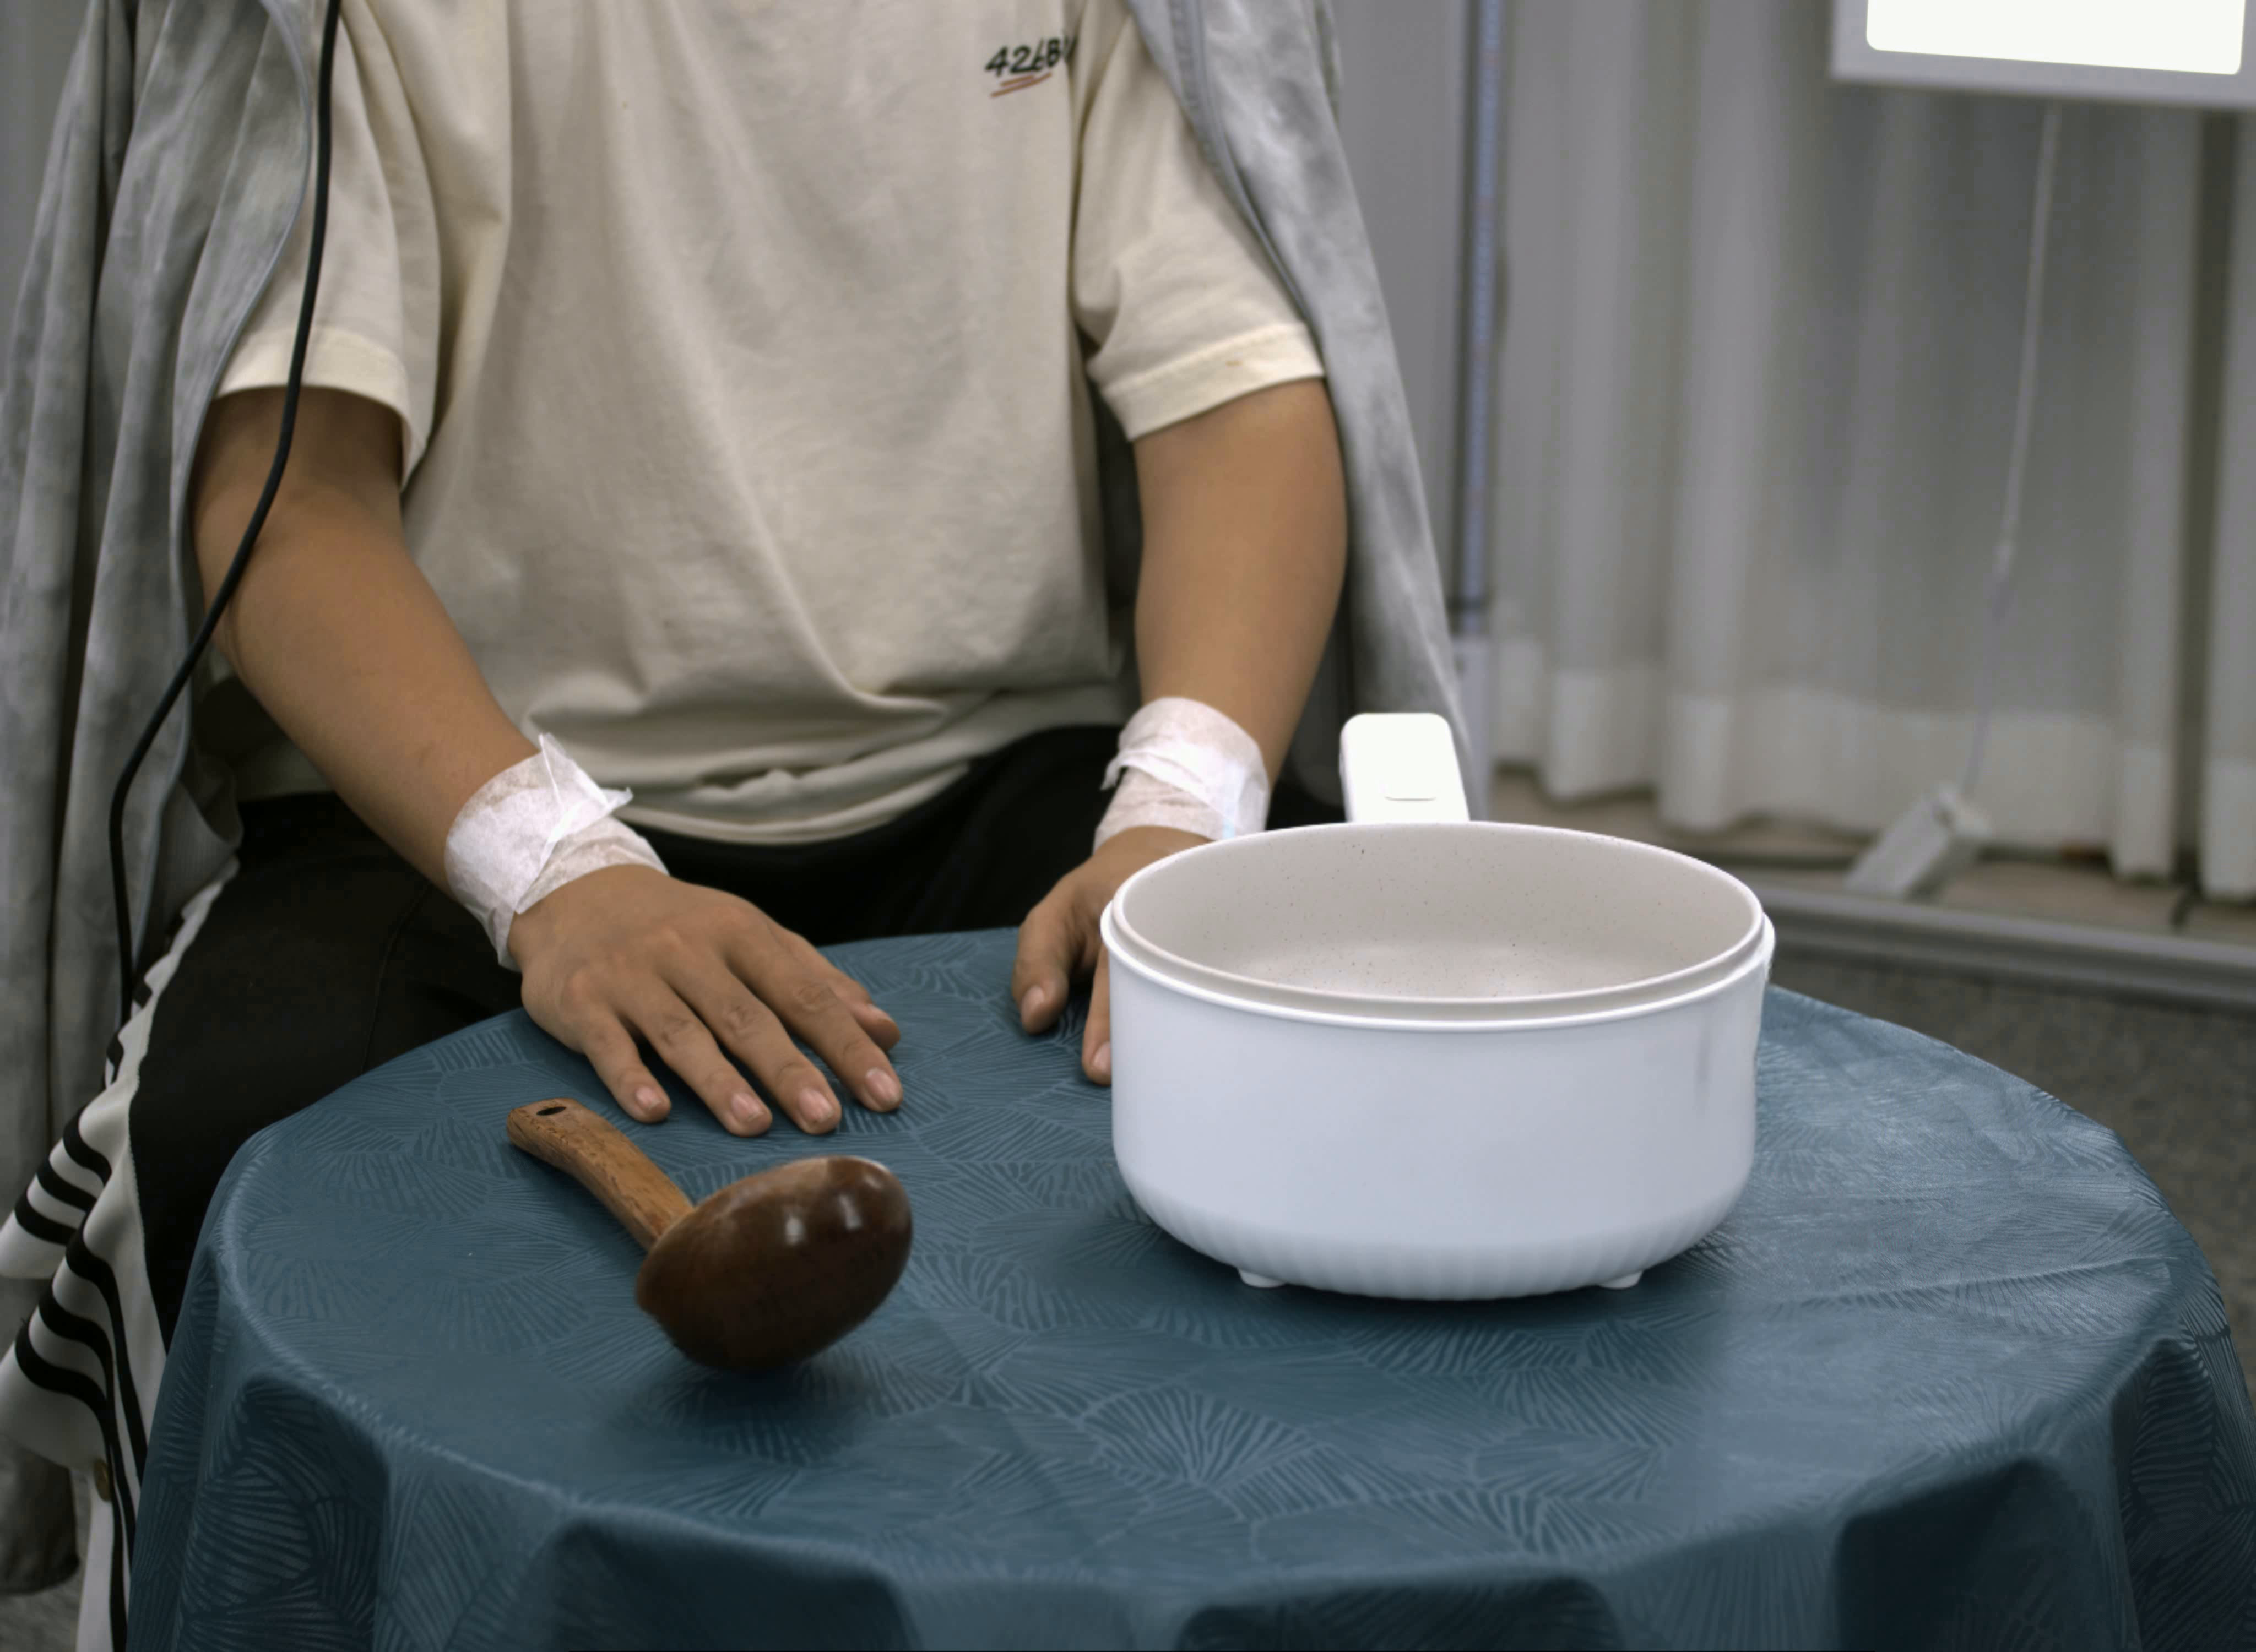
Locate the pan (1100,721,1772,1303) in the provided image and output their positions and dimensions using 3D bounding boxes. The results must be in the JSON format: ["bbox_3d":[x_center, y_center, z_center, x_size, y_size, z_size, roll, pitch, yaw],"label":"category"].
[{"bbox_3d":[0.093,0.054,1.660,0.200,0.103,0.353,-1,15,0],"label":"pan"}]

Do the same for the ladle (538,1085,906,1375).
[{"bbox_3d":[-0.136,0.094,1.539,0.082,0.077,0.271,-8,19,-19],"label":"ladle"}]
